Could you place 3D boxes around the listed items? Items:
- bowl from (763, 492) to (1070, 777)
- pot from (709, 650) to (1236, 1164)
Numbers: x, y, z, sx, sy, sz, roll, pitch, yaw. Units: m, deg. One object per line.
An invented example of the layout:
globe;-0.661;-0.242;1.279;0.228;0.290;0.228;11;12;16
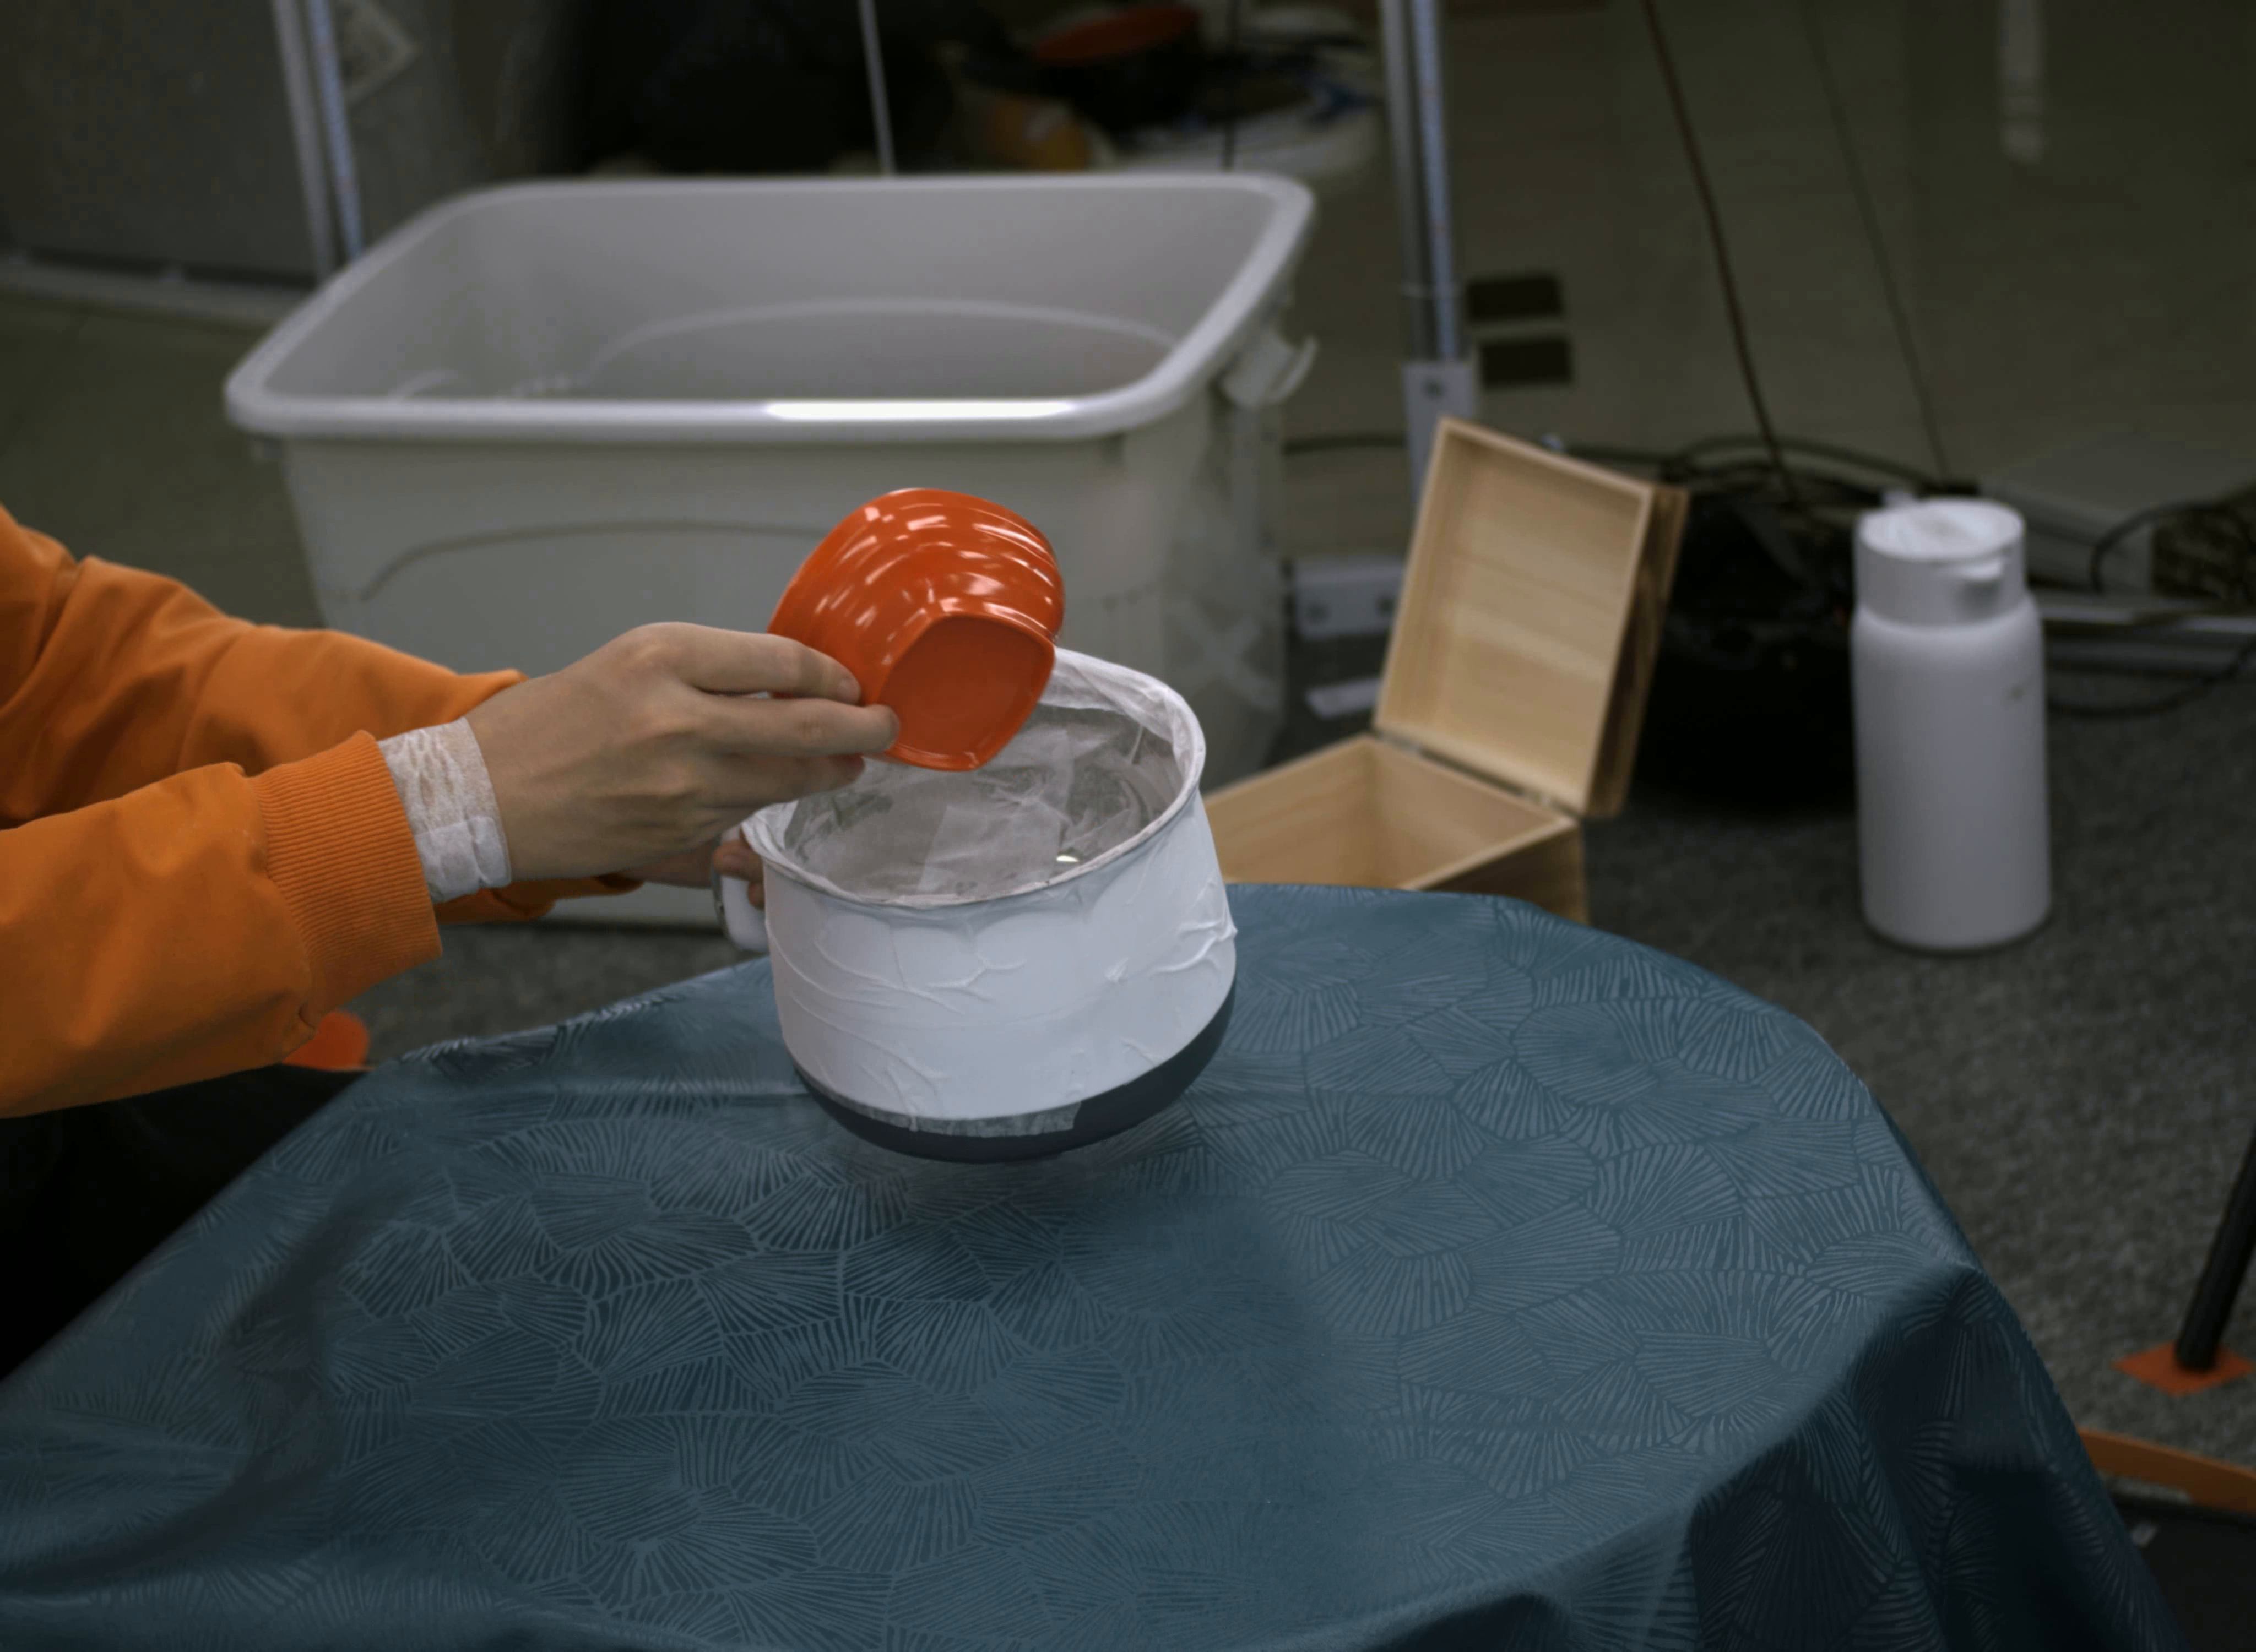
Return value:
bowl;-0.069;-0.060;2.051;0.118;0.121;0.050;-15;44;-19
pot;-0.072;0.026;2.164;0.232;0.139;0.176;18;41;35
